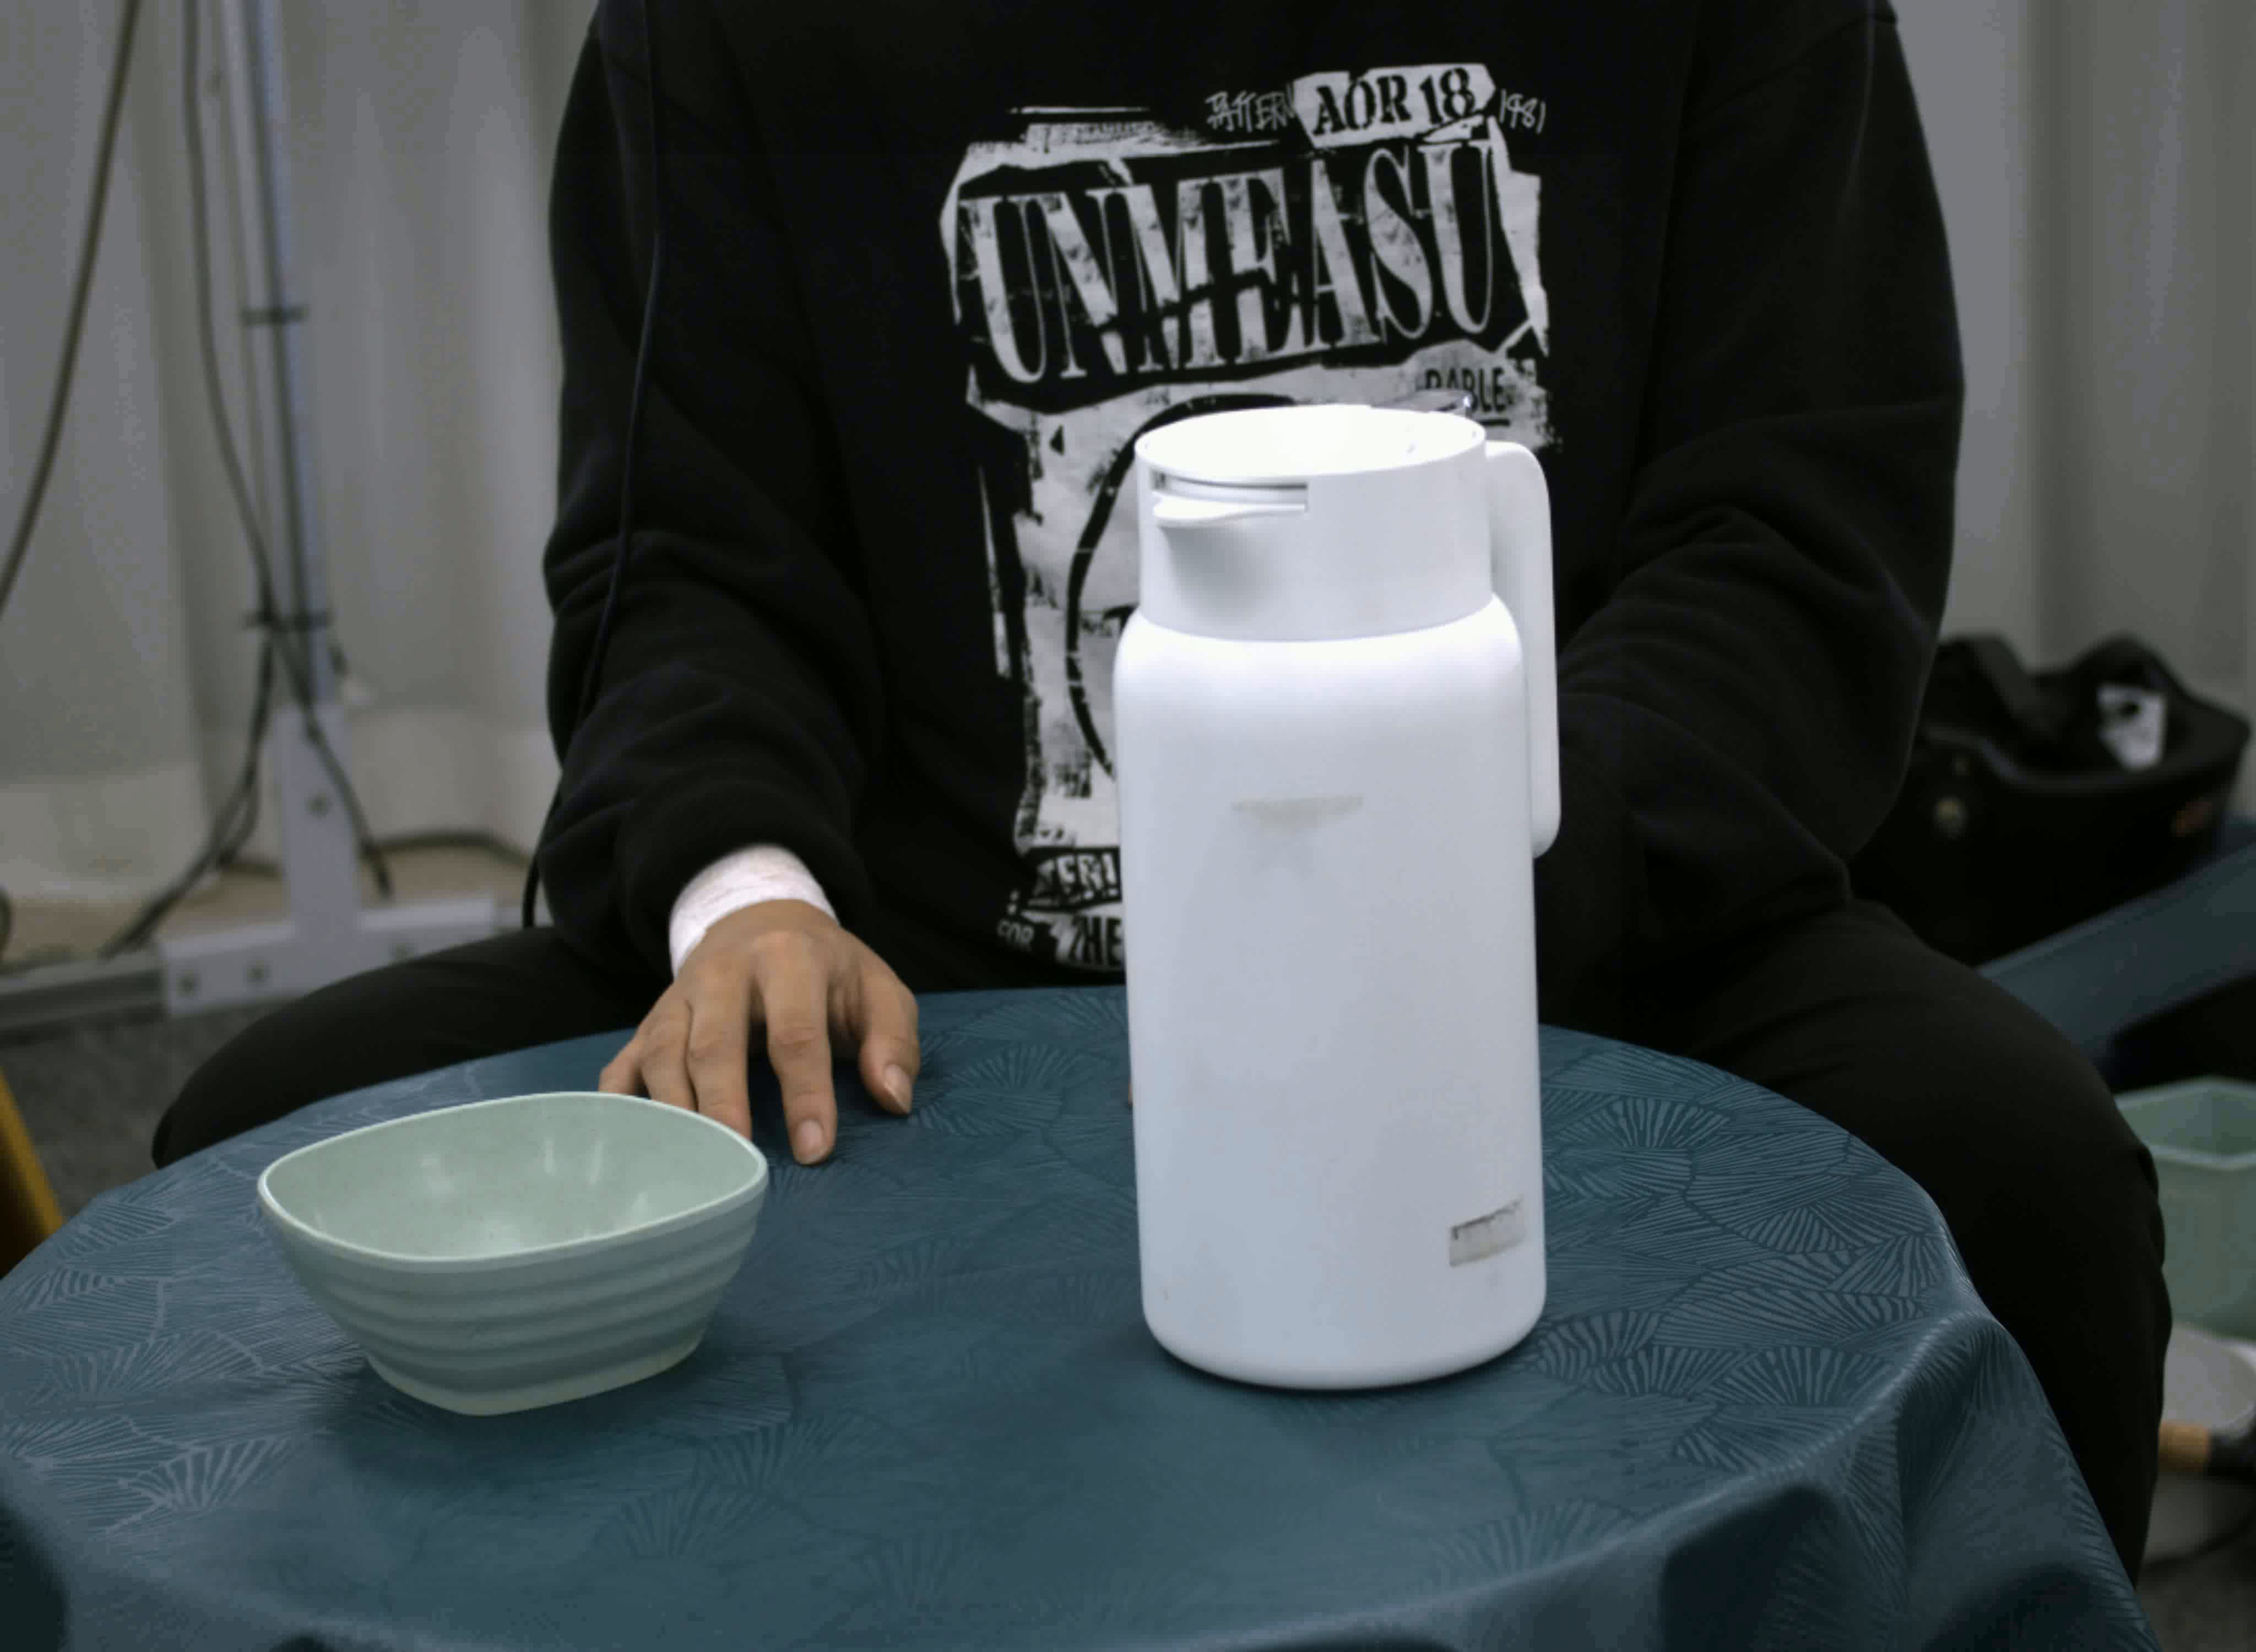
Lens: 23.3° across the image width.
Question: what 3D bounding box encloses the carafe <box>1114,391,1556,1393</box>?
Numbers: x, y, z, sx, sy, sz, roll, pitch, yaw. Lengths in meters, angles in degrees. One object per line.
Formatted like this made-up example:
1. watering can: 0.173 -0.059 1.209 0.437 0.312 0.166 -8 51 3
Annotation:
1. carafe: 0.066 0.014 1.565 0.124 0.268 0.173 4 15 35

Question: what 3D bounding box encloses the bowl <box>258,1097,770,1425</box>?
1. bowl: -0.177 0.130 1.591 0.151 0.058 0.152 -2 15 0
